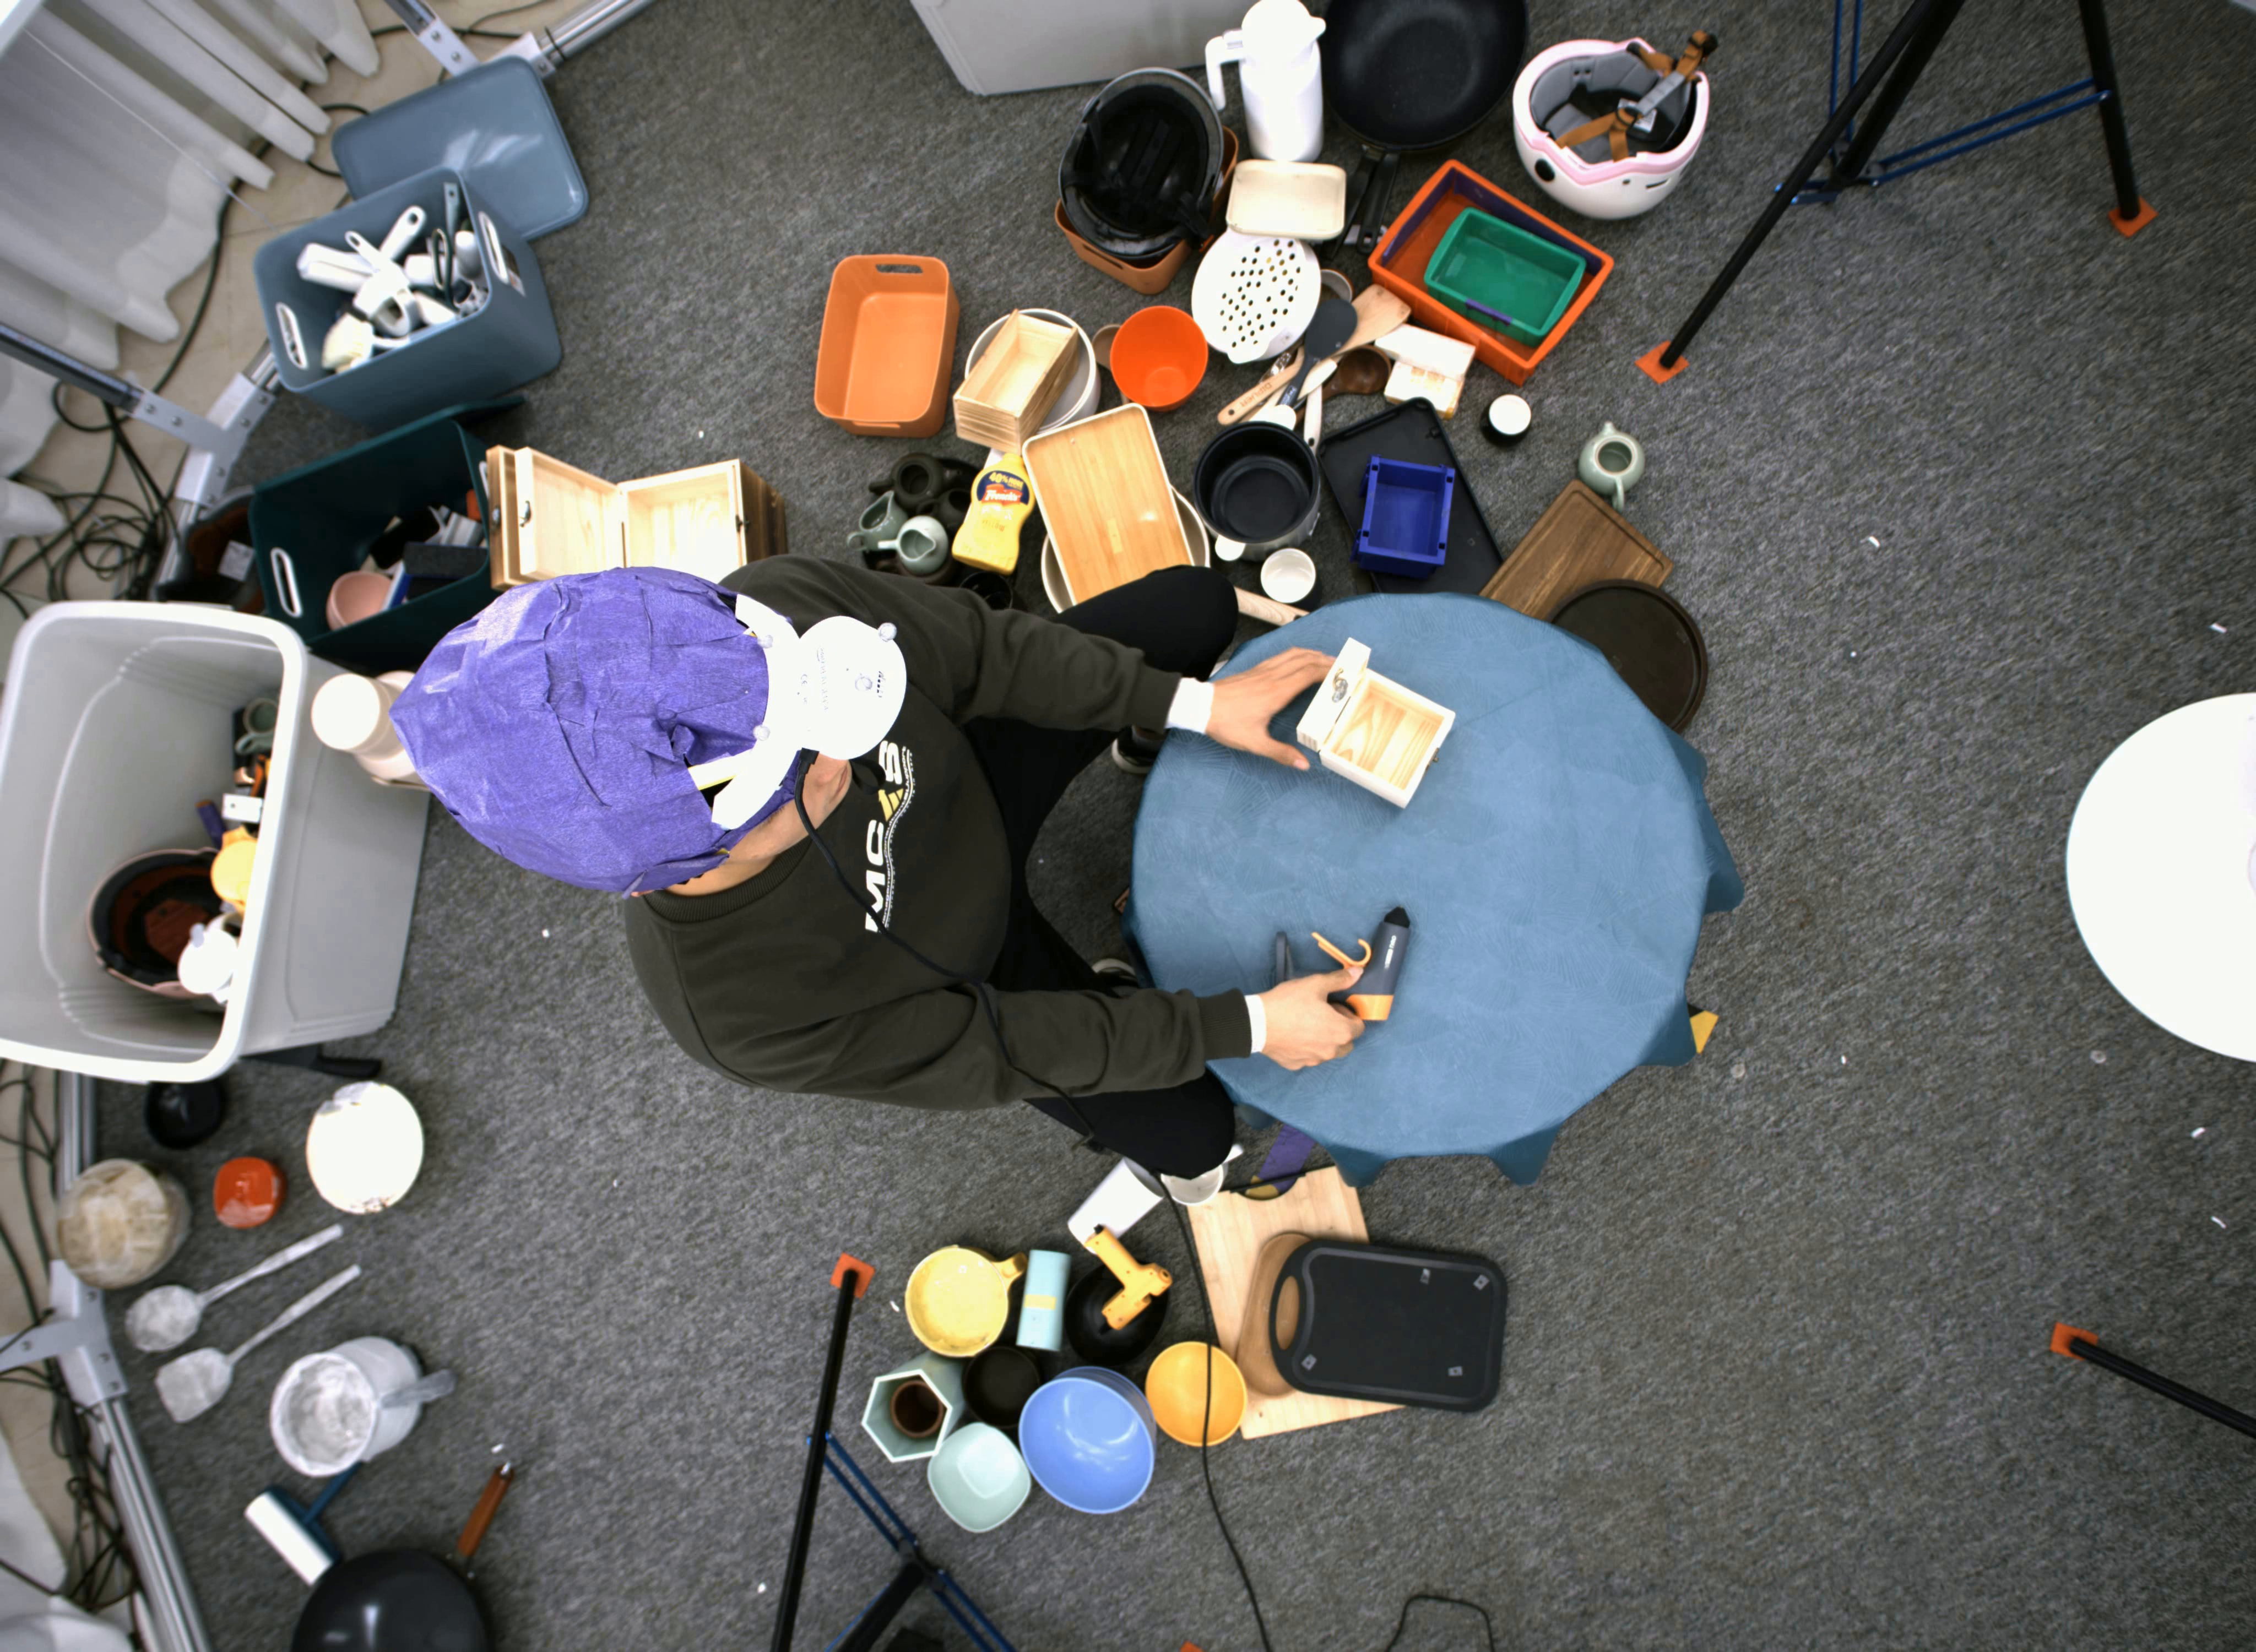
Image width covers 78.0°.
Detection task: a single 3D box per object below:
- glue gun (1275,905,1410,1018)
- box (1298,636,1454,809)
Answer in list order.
[{"bbox_3d":[0.225,0.141,1.447,0.140,0.041,0.117,-1,84,9],"label":"glue gun"},{"bbox_3d":[0.252,-0.100,1.378,0.134,0.185,0.102,28,89,10],"label":"box"}]
